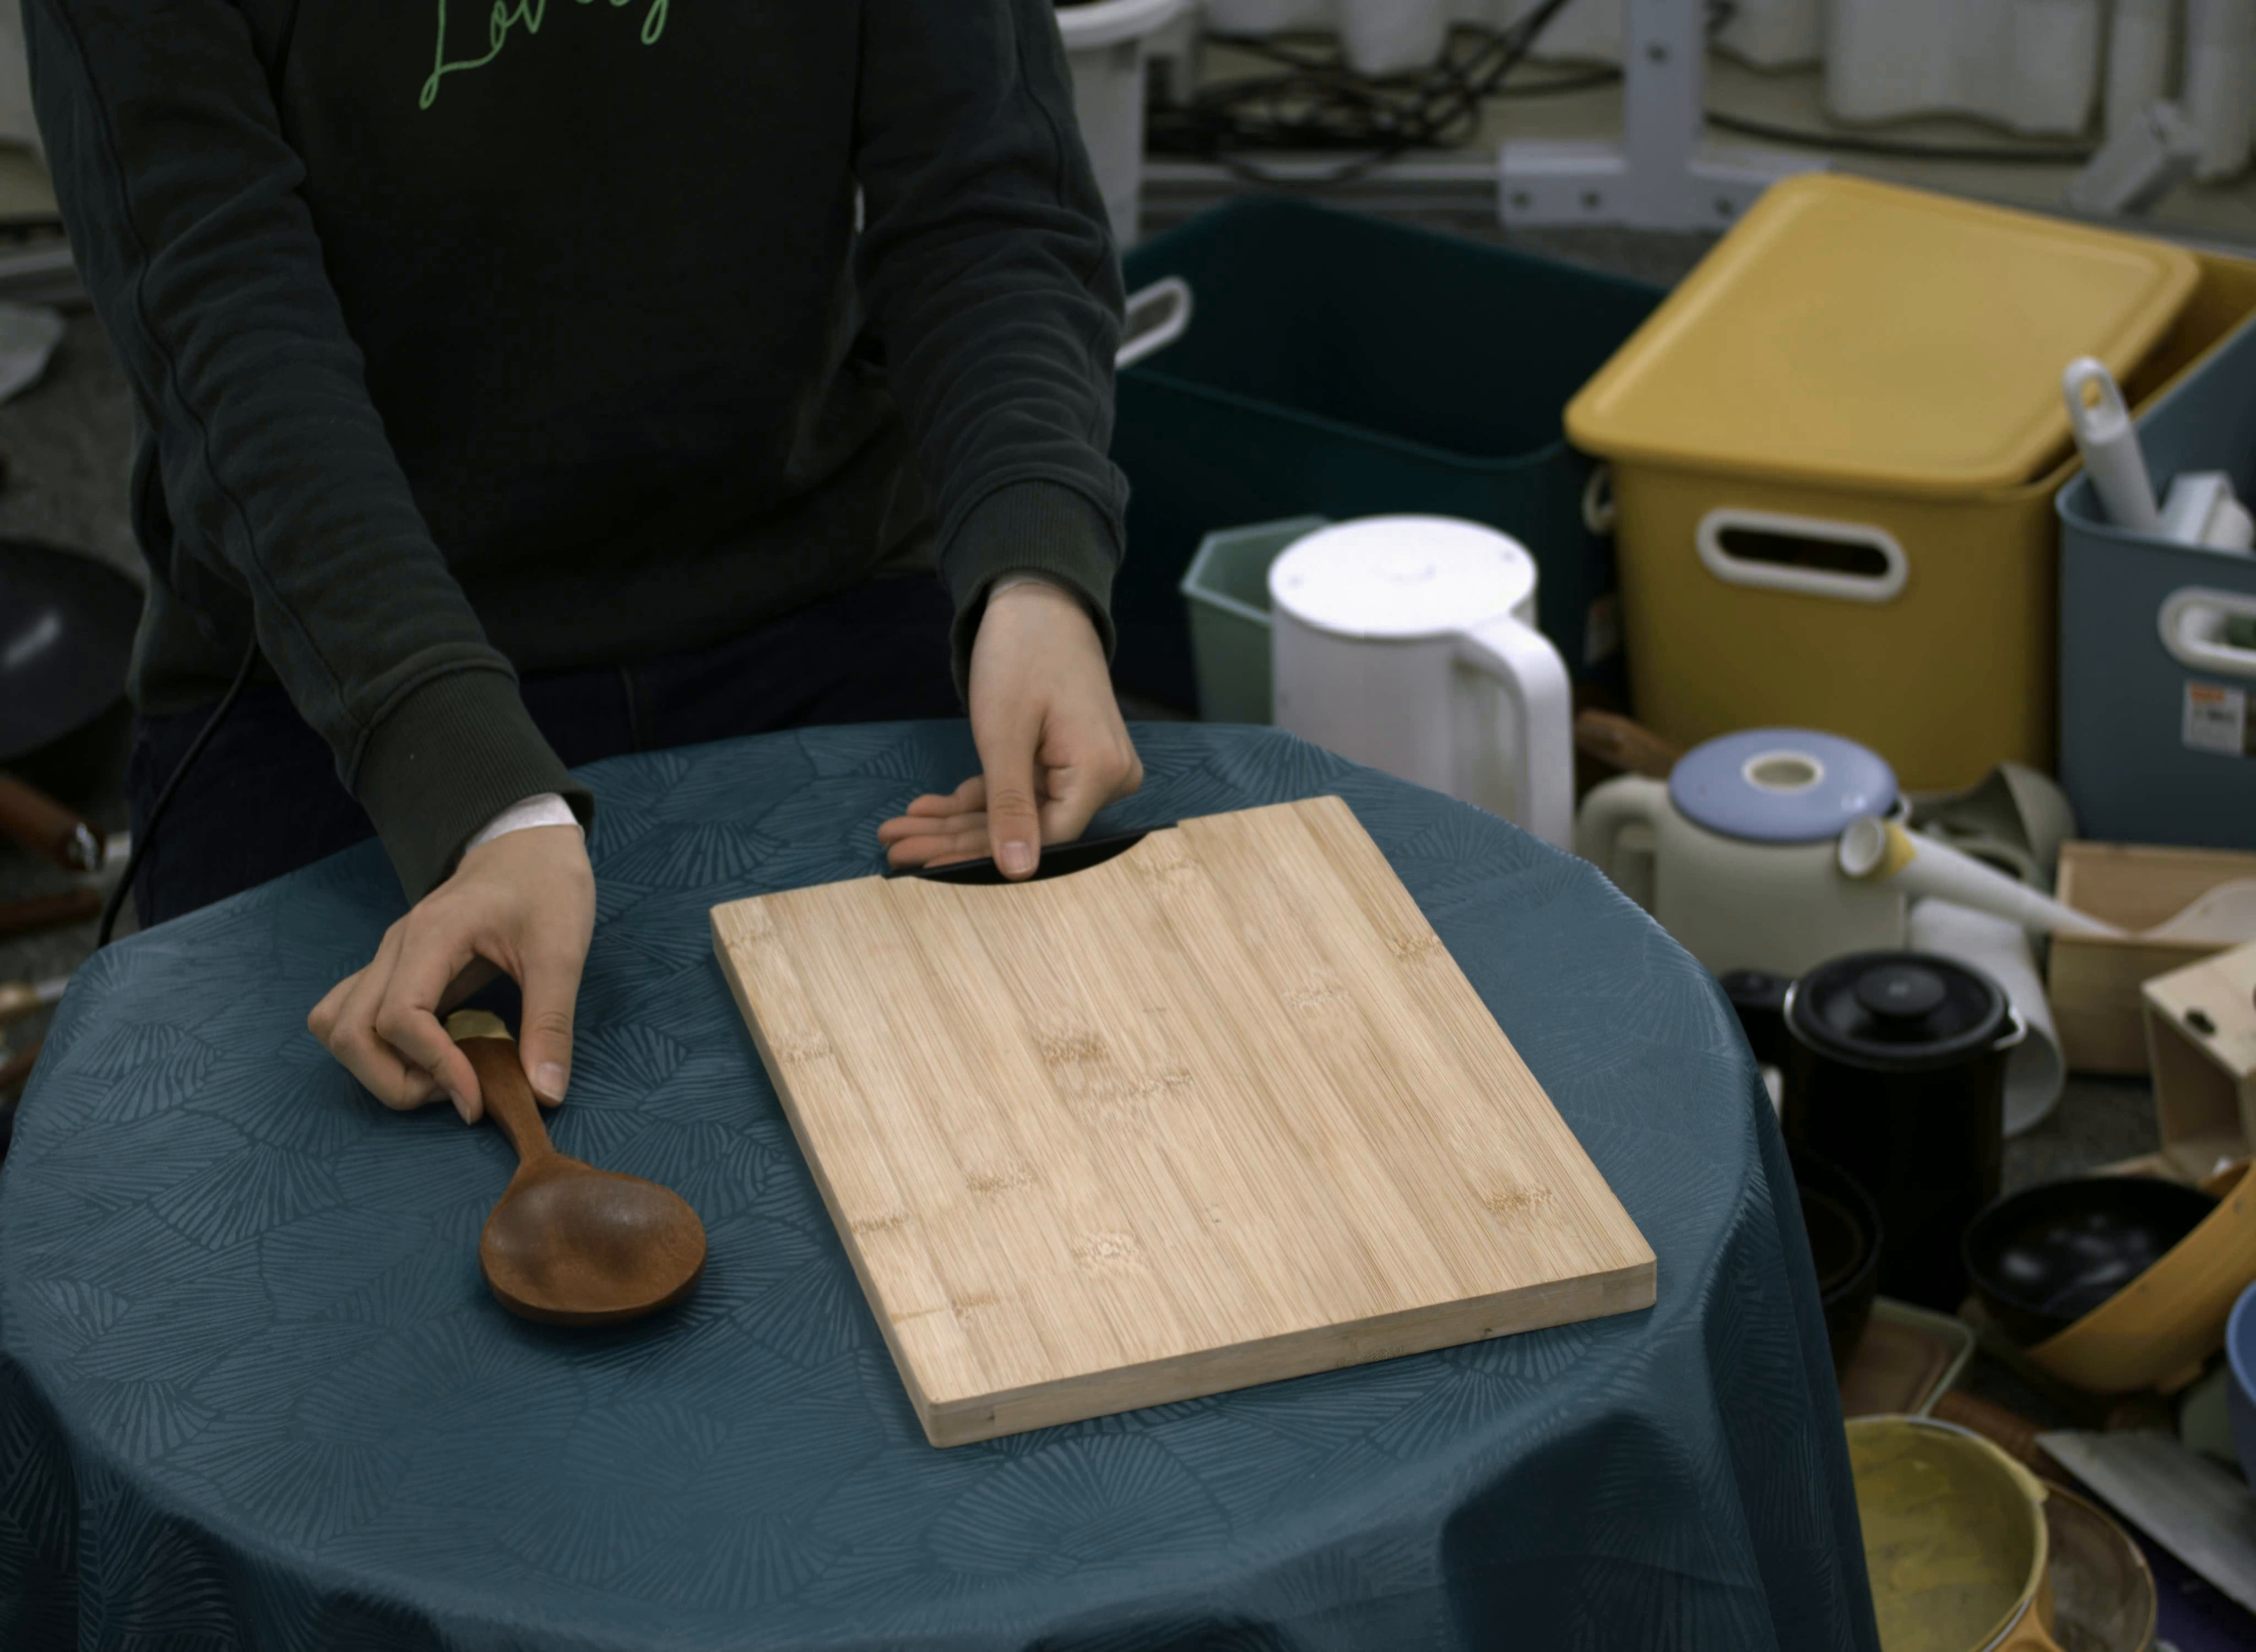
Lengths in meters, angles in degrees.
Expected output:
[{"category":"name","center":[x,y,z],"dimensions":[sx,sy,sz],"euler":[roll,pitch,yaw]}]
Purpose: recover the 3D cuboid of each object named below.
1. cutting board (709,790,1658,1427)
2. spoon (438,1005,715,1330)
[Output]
[{"category":"cutting board","center":[0.008,0.089,1.907],"dimensions":[0.251,0.023,0.352],"euler":[-9,28,-14]},{"category":"spoon","center":[-0.194,0.114,1.876],"dimensions":[0.075,0.017,0.217],"euler":[-14,30,-16]}]
